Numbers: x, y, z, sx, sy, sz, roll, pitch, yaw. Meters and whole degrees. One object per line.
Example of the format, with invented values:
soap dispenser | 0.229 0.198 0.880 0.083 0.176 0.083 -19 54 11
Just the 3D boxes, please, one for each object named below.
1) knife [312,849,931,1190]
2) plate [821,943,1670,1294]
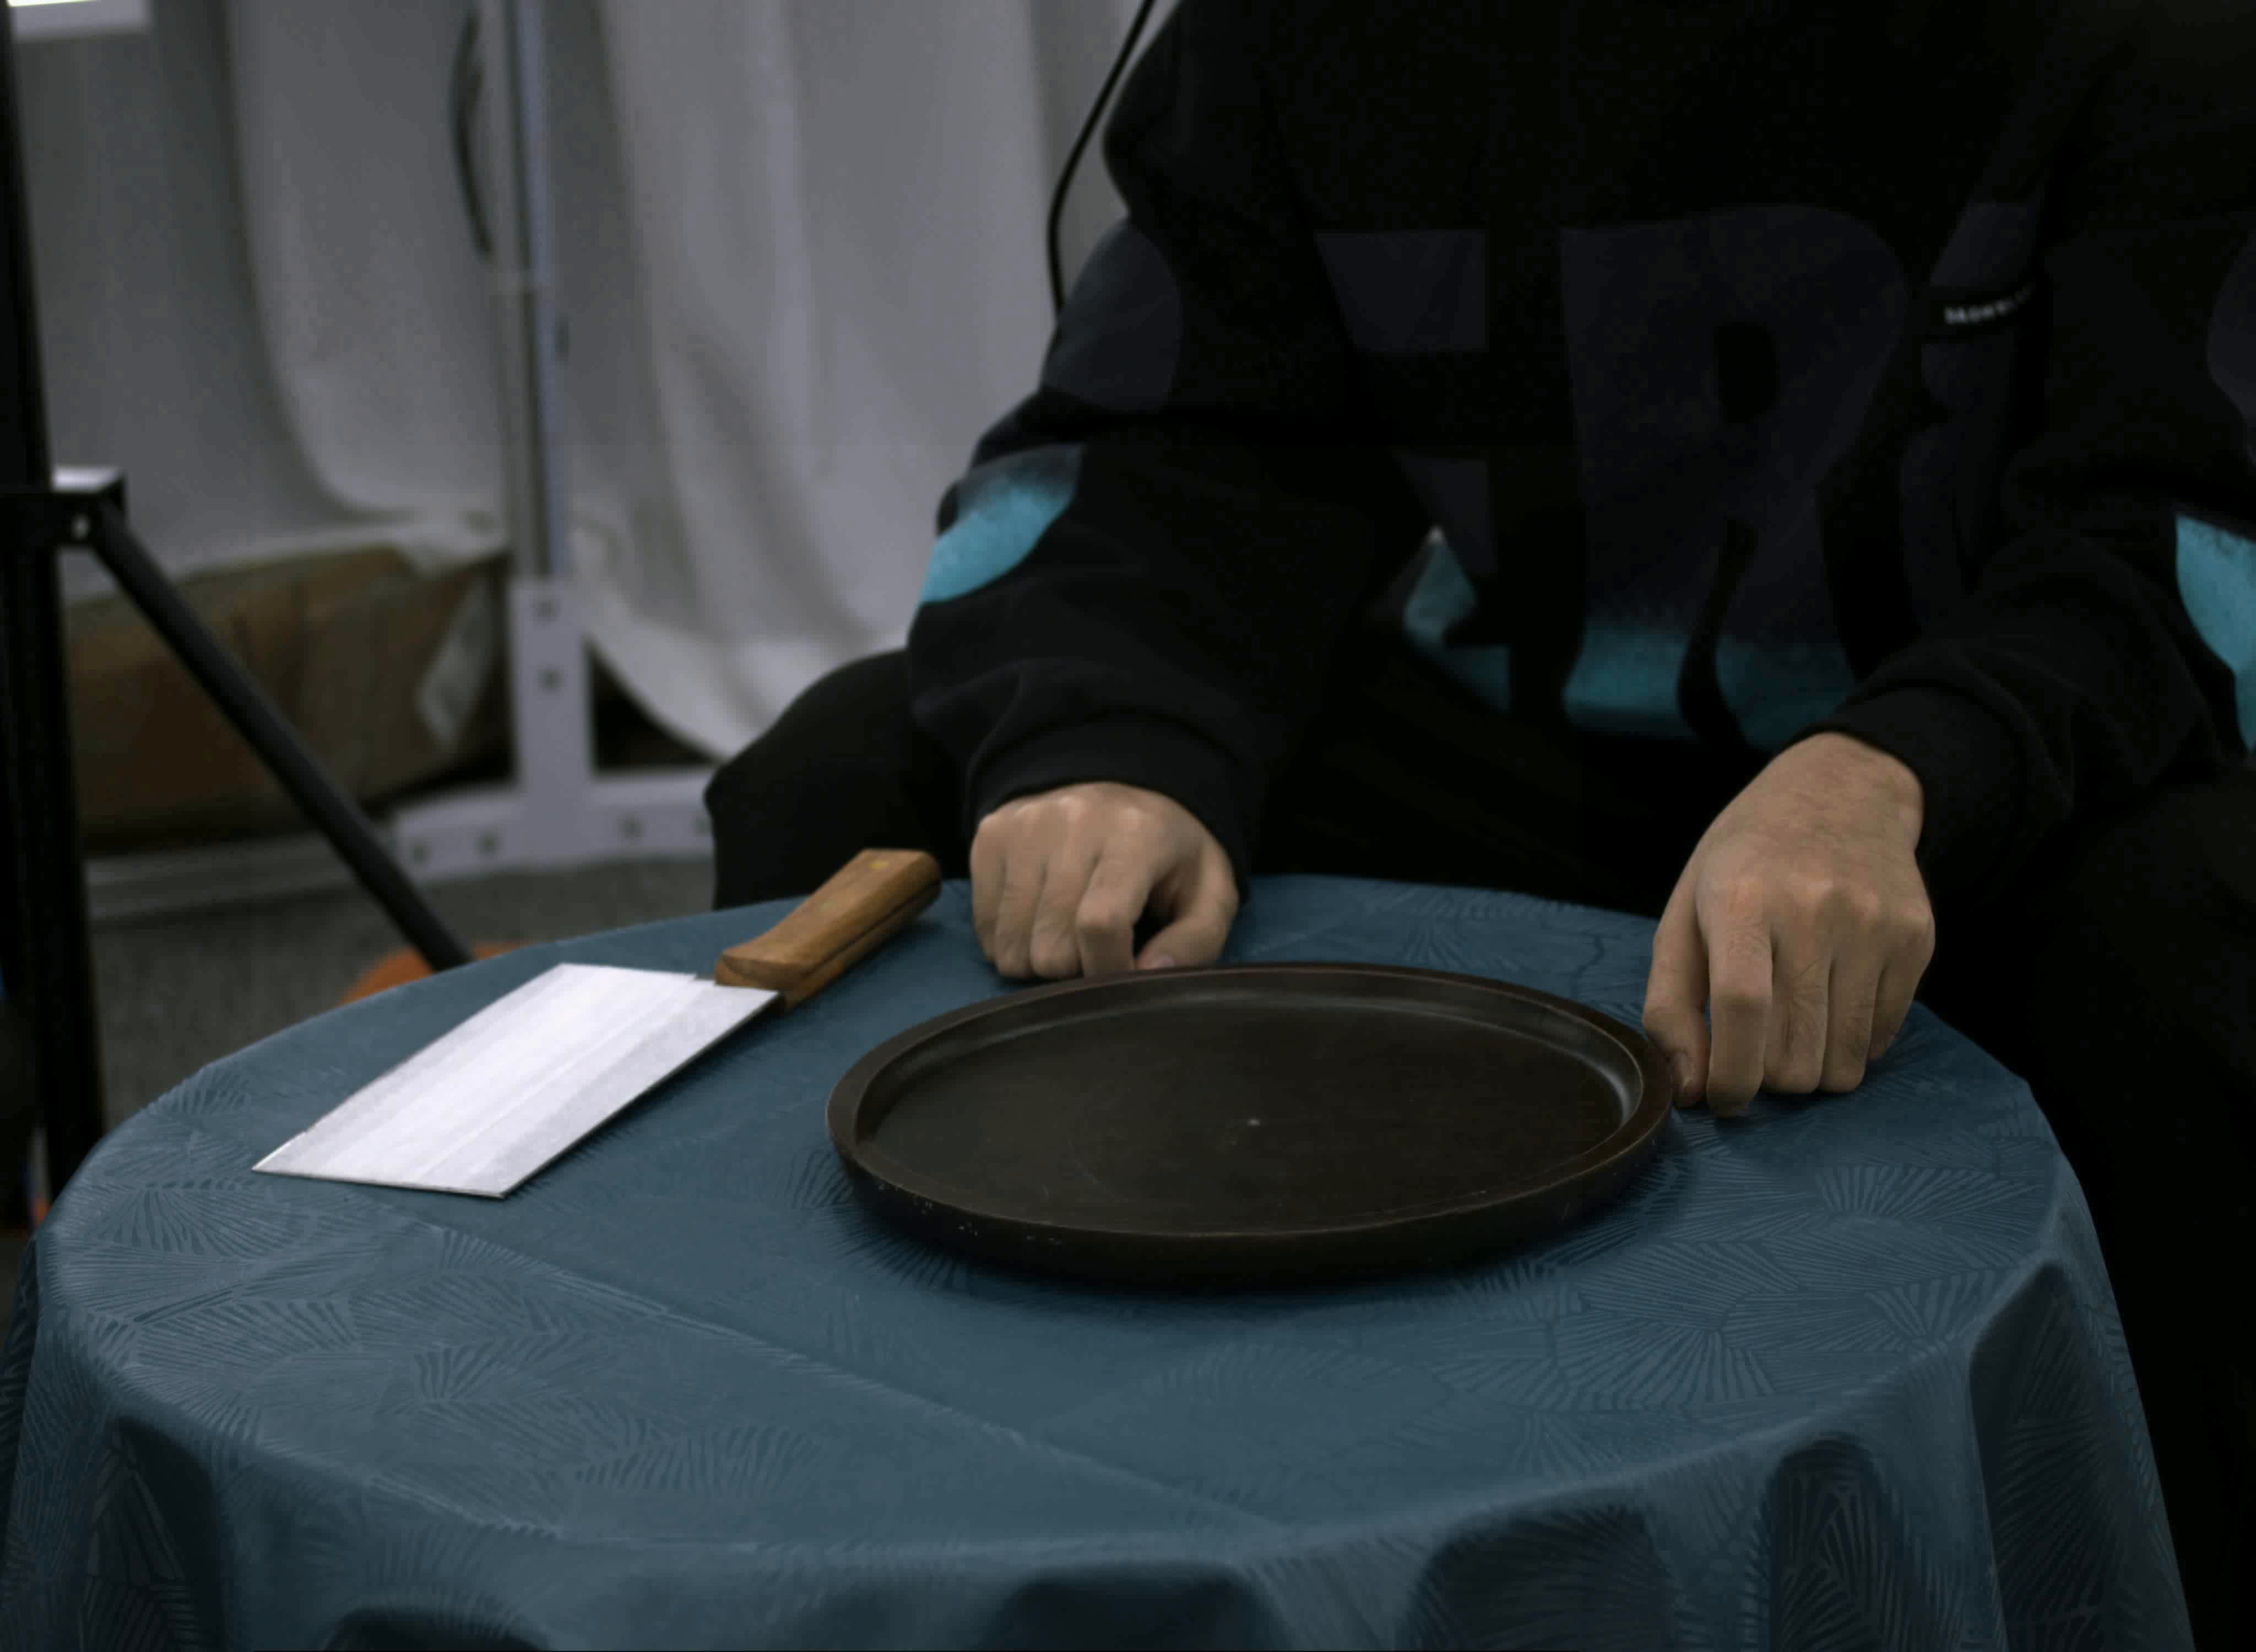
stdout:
knife | -0.162 0.061 1.725 0.094 0.021 0.301 3 19 25
plate | 0.035 0.087 1.578 0.253 0.029 0.256 -5 16 0
